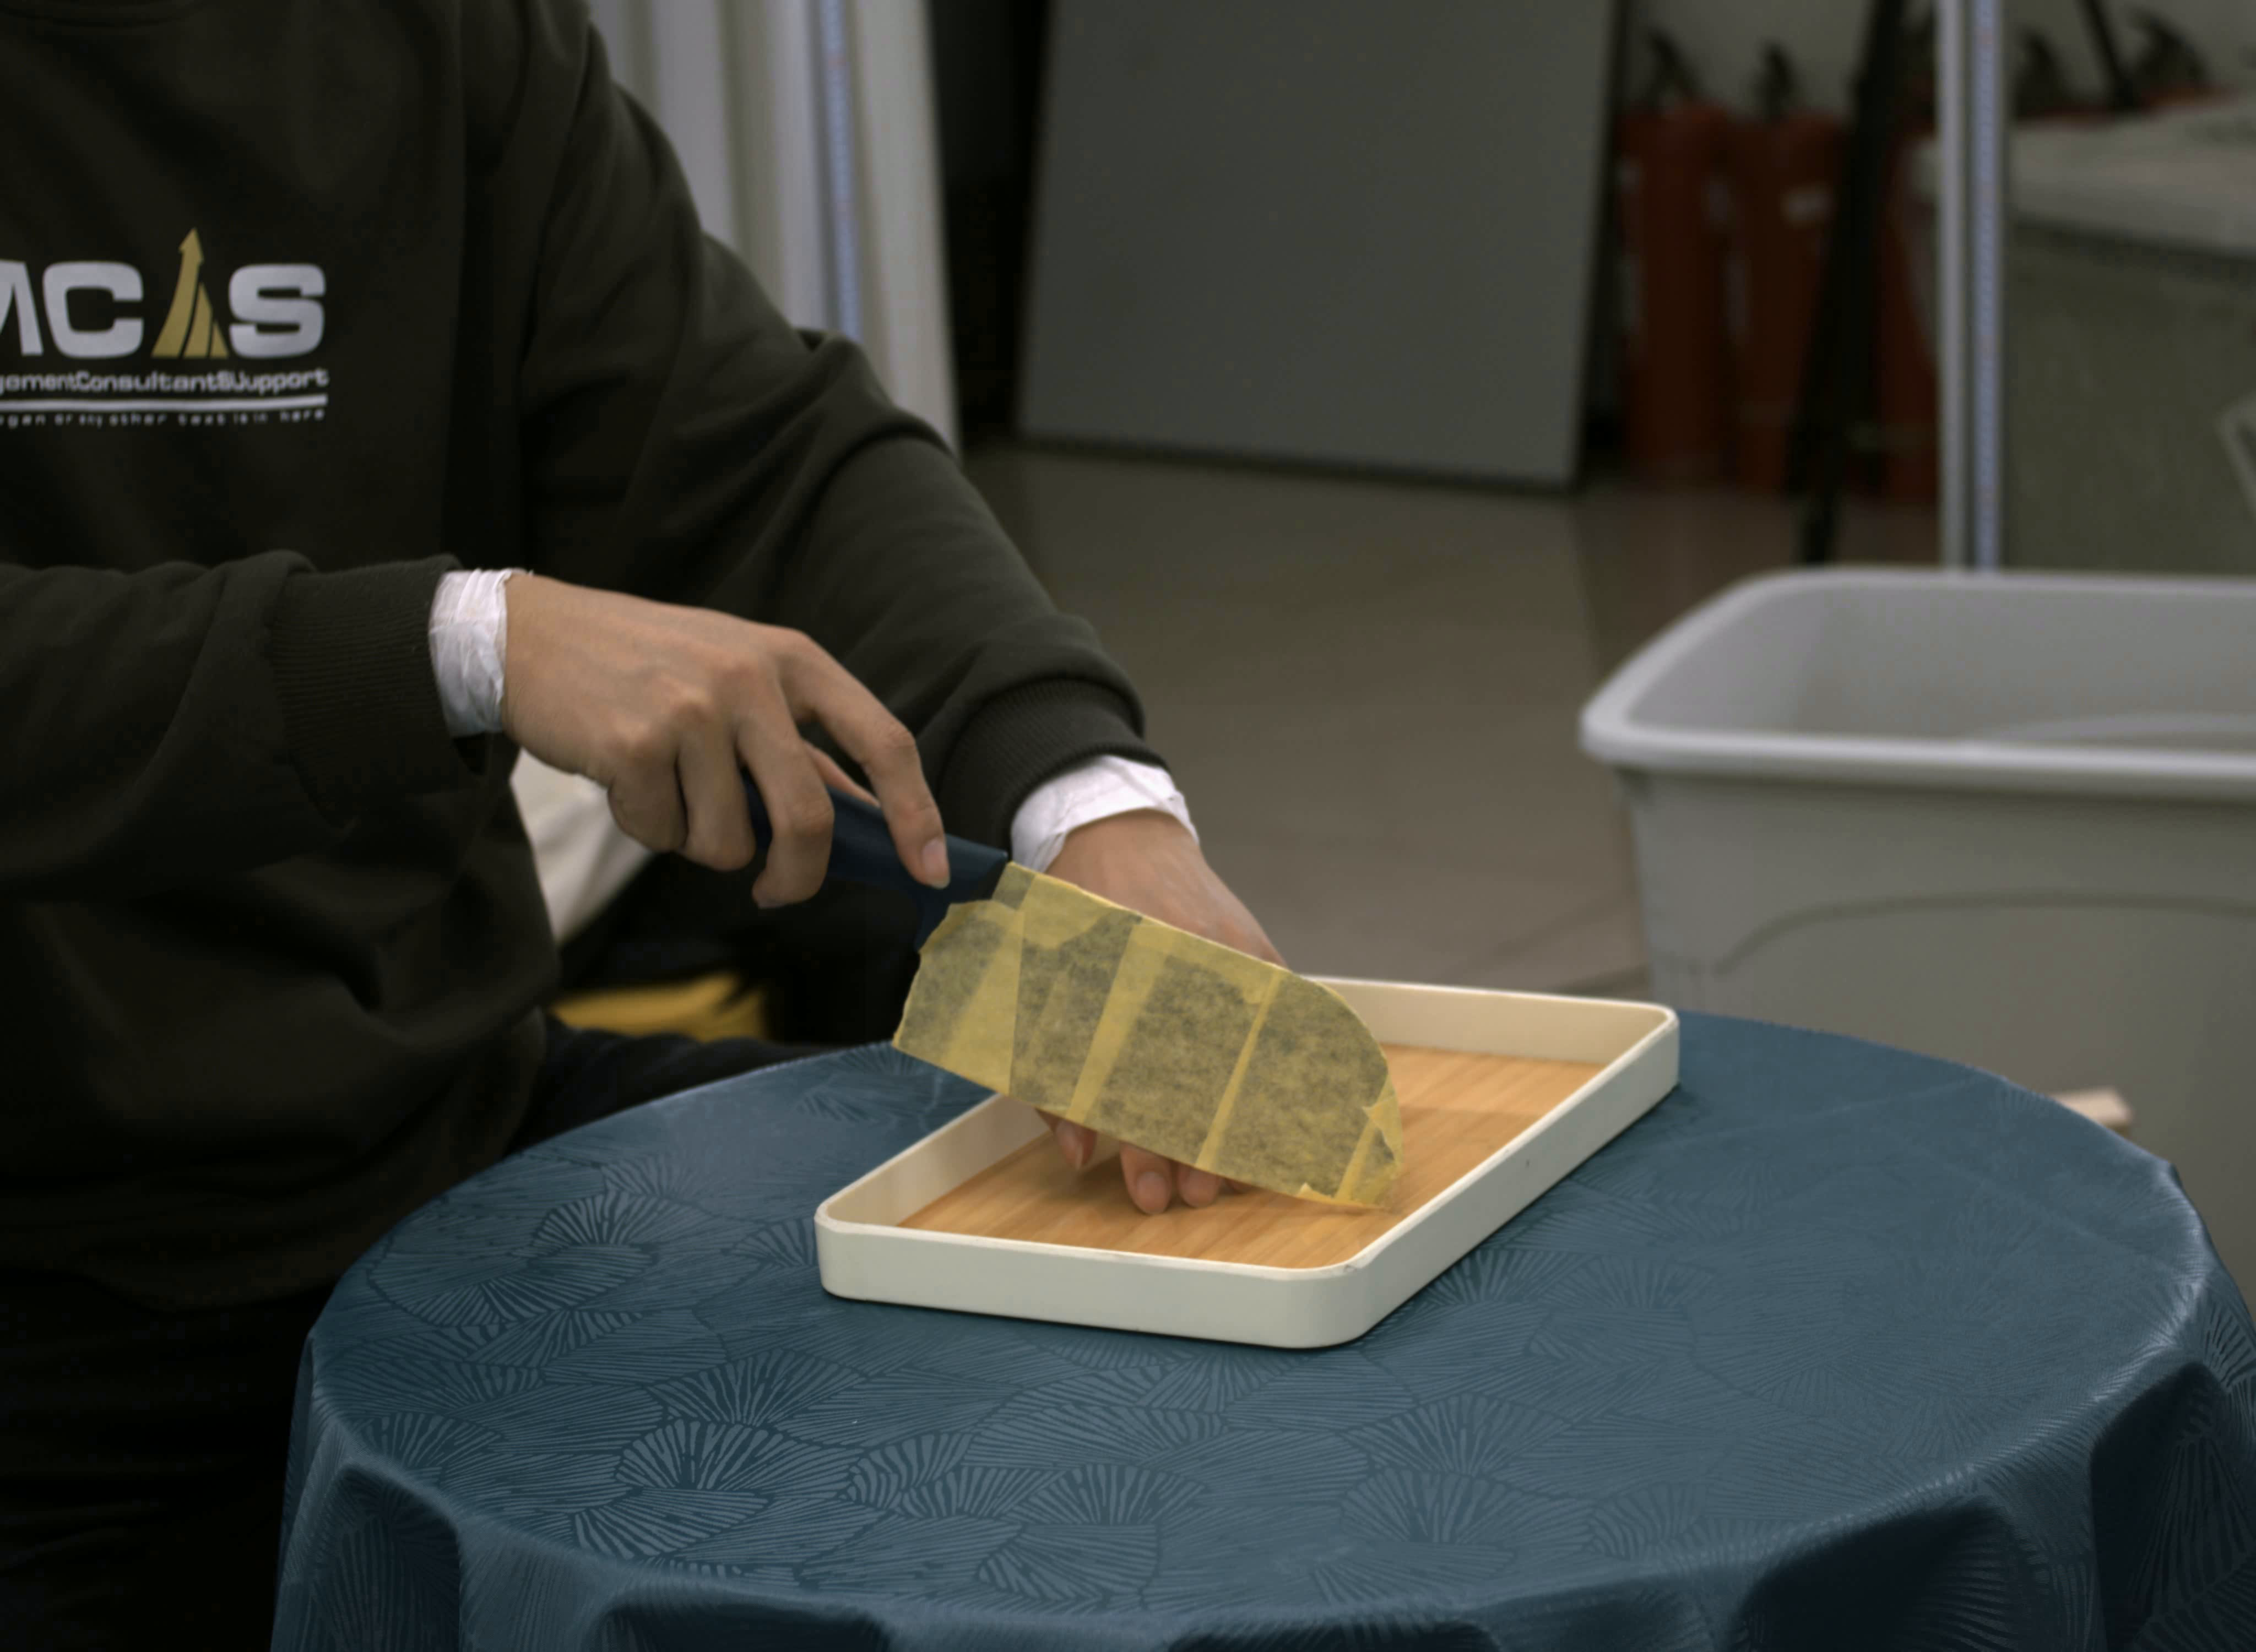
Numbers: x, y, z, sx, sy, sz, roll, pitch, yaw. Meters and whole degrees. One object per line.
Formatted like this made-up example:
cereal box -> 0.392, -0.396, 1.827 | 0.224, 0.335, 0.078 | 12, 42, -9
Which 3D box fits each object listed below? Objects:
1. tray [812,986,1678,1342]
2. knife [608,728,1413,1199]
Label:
tray -> 0.045, 0.106, 1.768 | 0.192, 0.028, 0.296 | 2, 14, 28
knife -> -0.040, 0.044, 1.720 | 0.288, 0.082, 0.027 | 25, 10, 5
